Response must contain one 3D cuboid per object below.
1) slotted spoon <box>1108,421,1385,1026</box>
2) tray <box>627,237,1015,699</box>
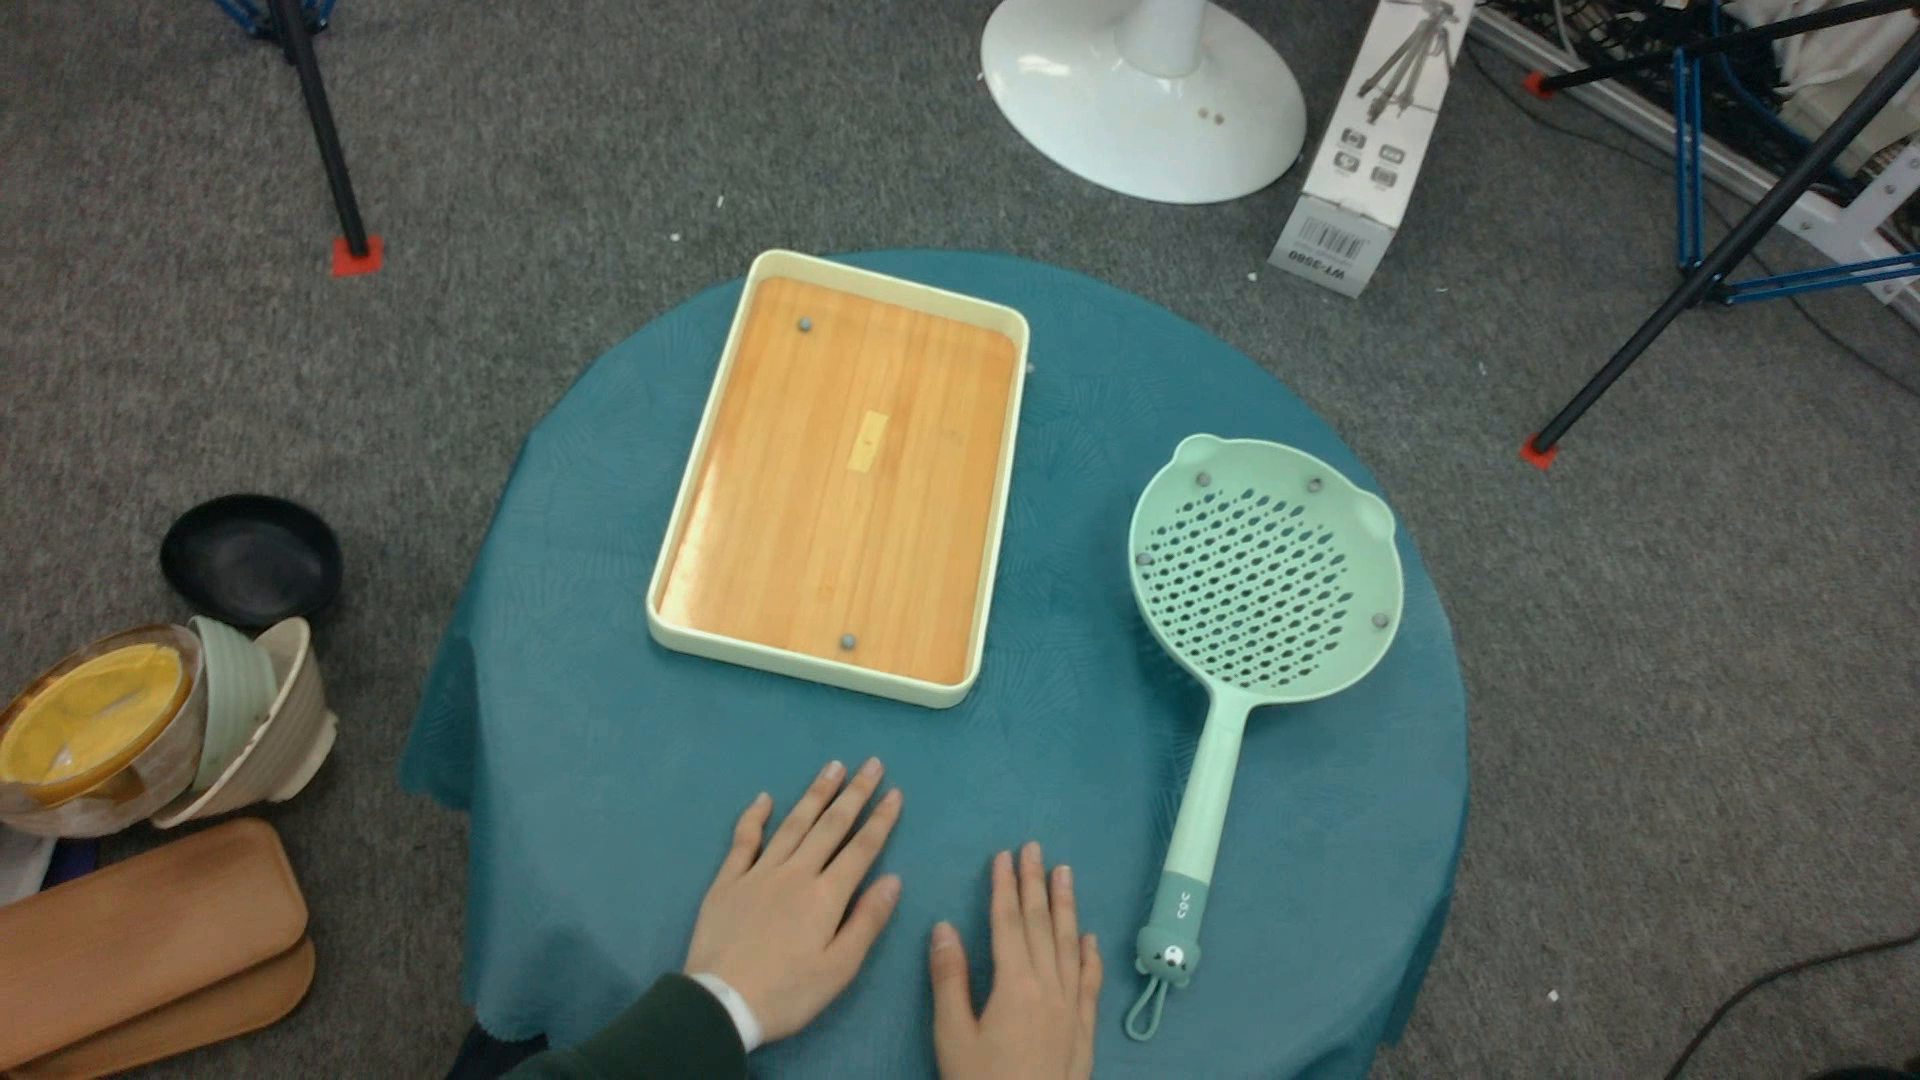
[{"bbox_3d":[0.142,0.094,0.786,0.169,0.075,0.360,20,56,0],"label":"slotted spoon"},{"bbox_3d":[-0.075,-0.055,0.849,0.191,0.027,0.301,14,56,-6],"label":"tray"}]
